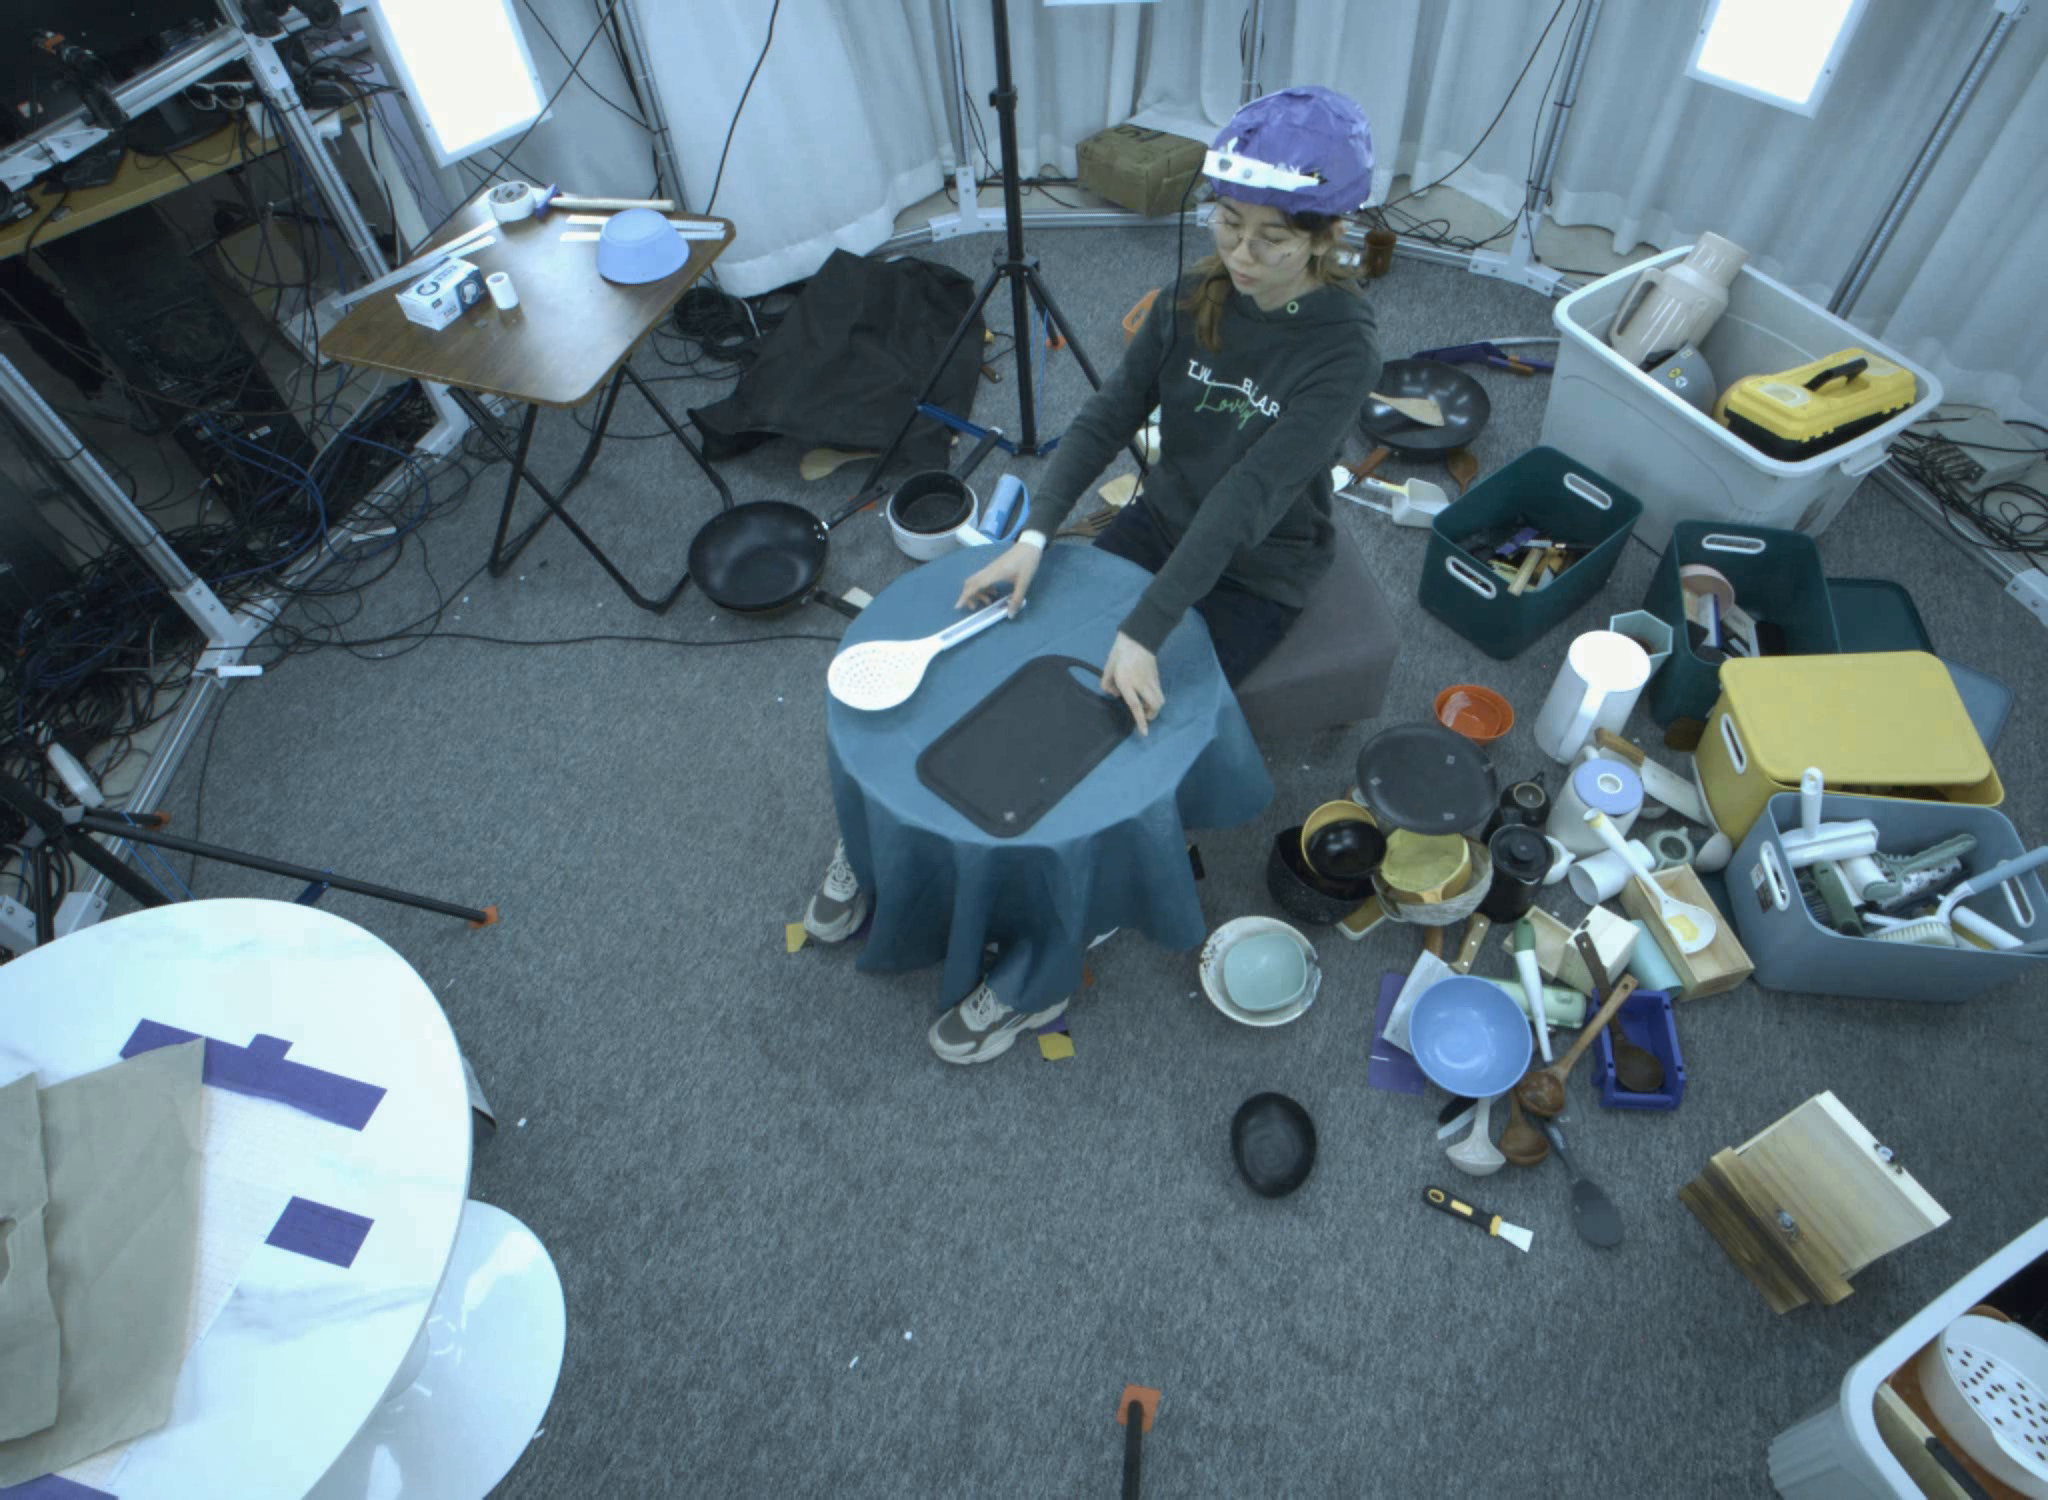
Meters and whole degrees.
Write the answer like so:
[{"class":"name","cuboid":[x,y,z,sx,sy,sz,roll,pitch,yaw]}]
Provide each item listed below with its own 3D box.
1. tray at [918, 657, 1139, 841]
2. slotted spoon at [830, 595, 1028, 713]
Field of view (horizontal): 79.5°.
[{"class":"tray","cuboid":[0.013,-0.014,1.803,0.207,0.010,0.327,37,63,24]},{"class":"slotted spoon","cuboid":[-0.139,-0.156,1.883,0.352,0.046,0.133,-34,63,-21]}]
